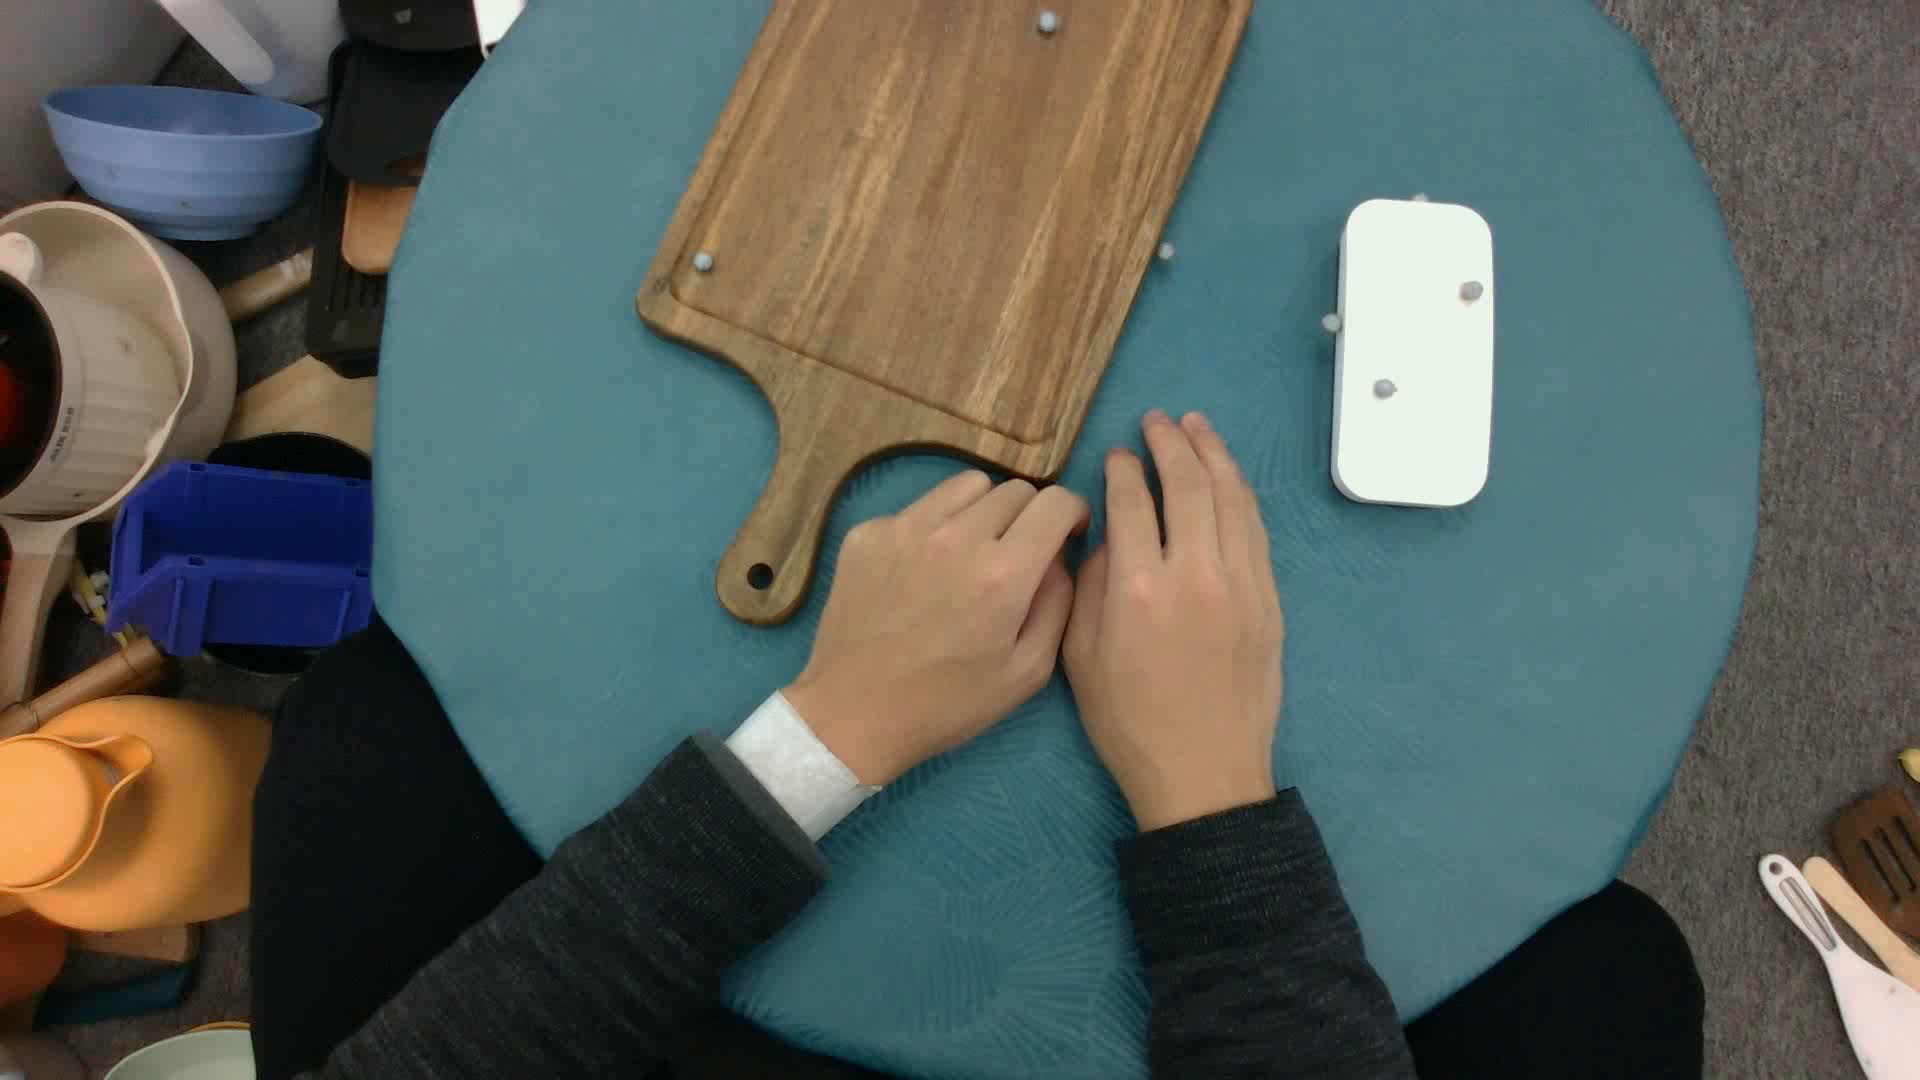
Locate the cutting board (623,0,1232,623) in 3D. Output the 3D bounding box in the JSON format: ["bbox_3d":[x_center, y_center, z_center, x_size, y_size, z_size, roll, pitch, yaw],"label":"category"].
[{"bbox_3d":[-0.027,-0.130,0.597,0.201,0.023,0.353,22,80,2],"label":"cutting board"}]

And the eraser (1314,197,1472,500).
[{"bbox_3d":[0.183,-0.082,0.589,0.063,0.034,0.131,6,78,-2],"label":"eraser"}]
